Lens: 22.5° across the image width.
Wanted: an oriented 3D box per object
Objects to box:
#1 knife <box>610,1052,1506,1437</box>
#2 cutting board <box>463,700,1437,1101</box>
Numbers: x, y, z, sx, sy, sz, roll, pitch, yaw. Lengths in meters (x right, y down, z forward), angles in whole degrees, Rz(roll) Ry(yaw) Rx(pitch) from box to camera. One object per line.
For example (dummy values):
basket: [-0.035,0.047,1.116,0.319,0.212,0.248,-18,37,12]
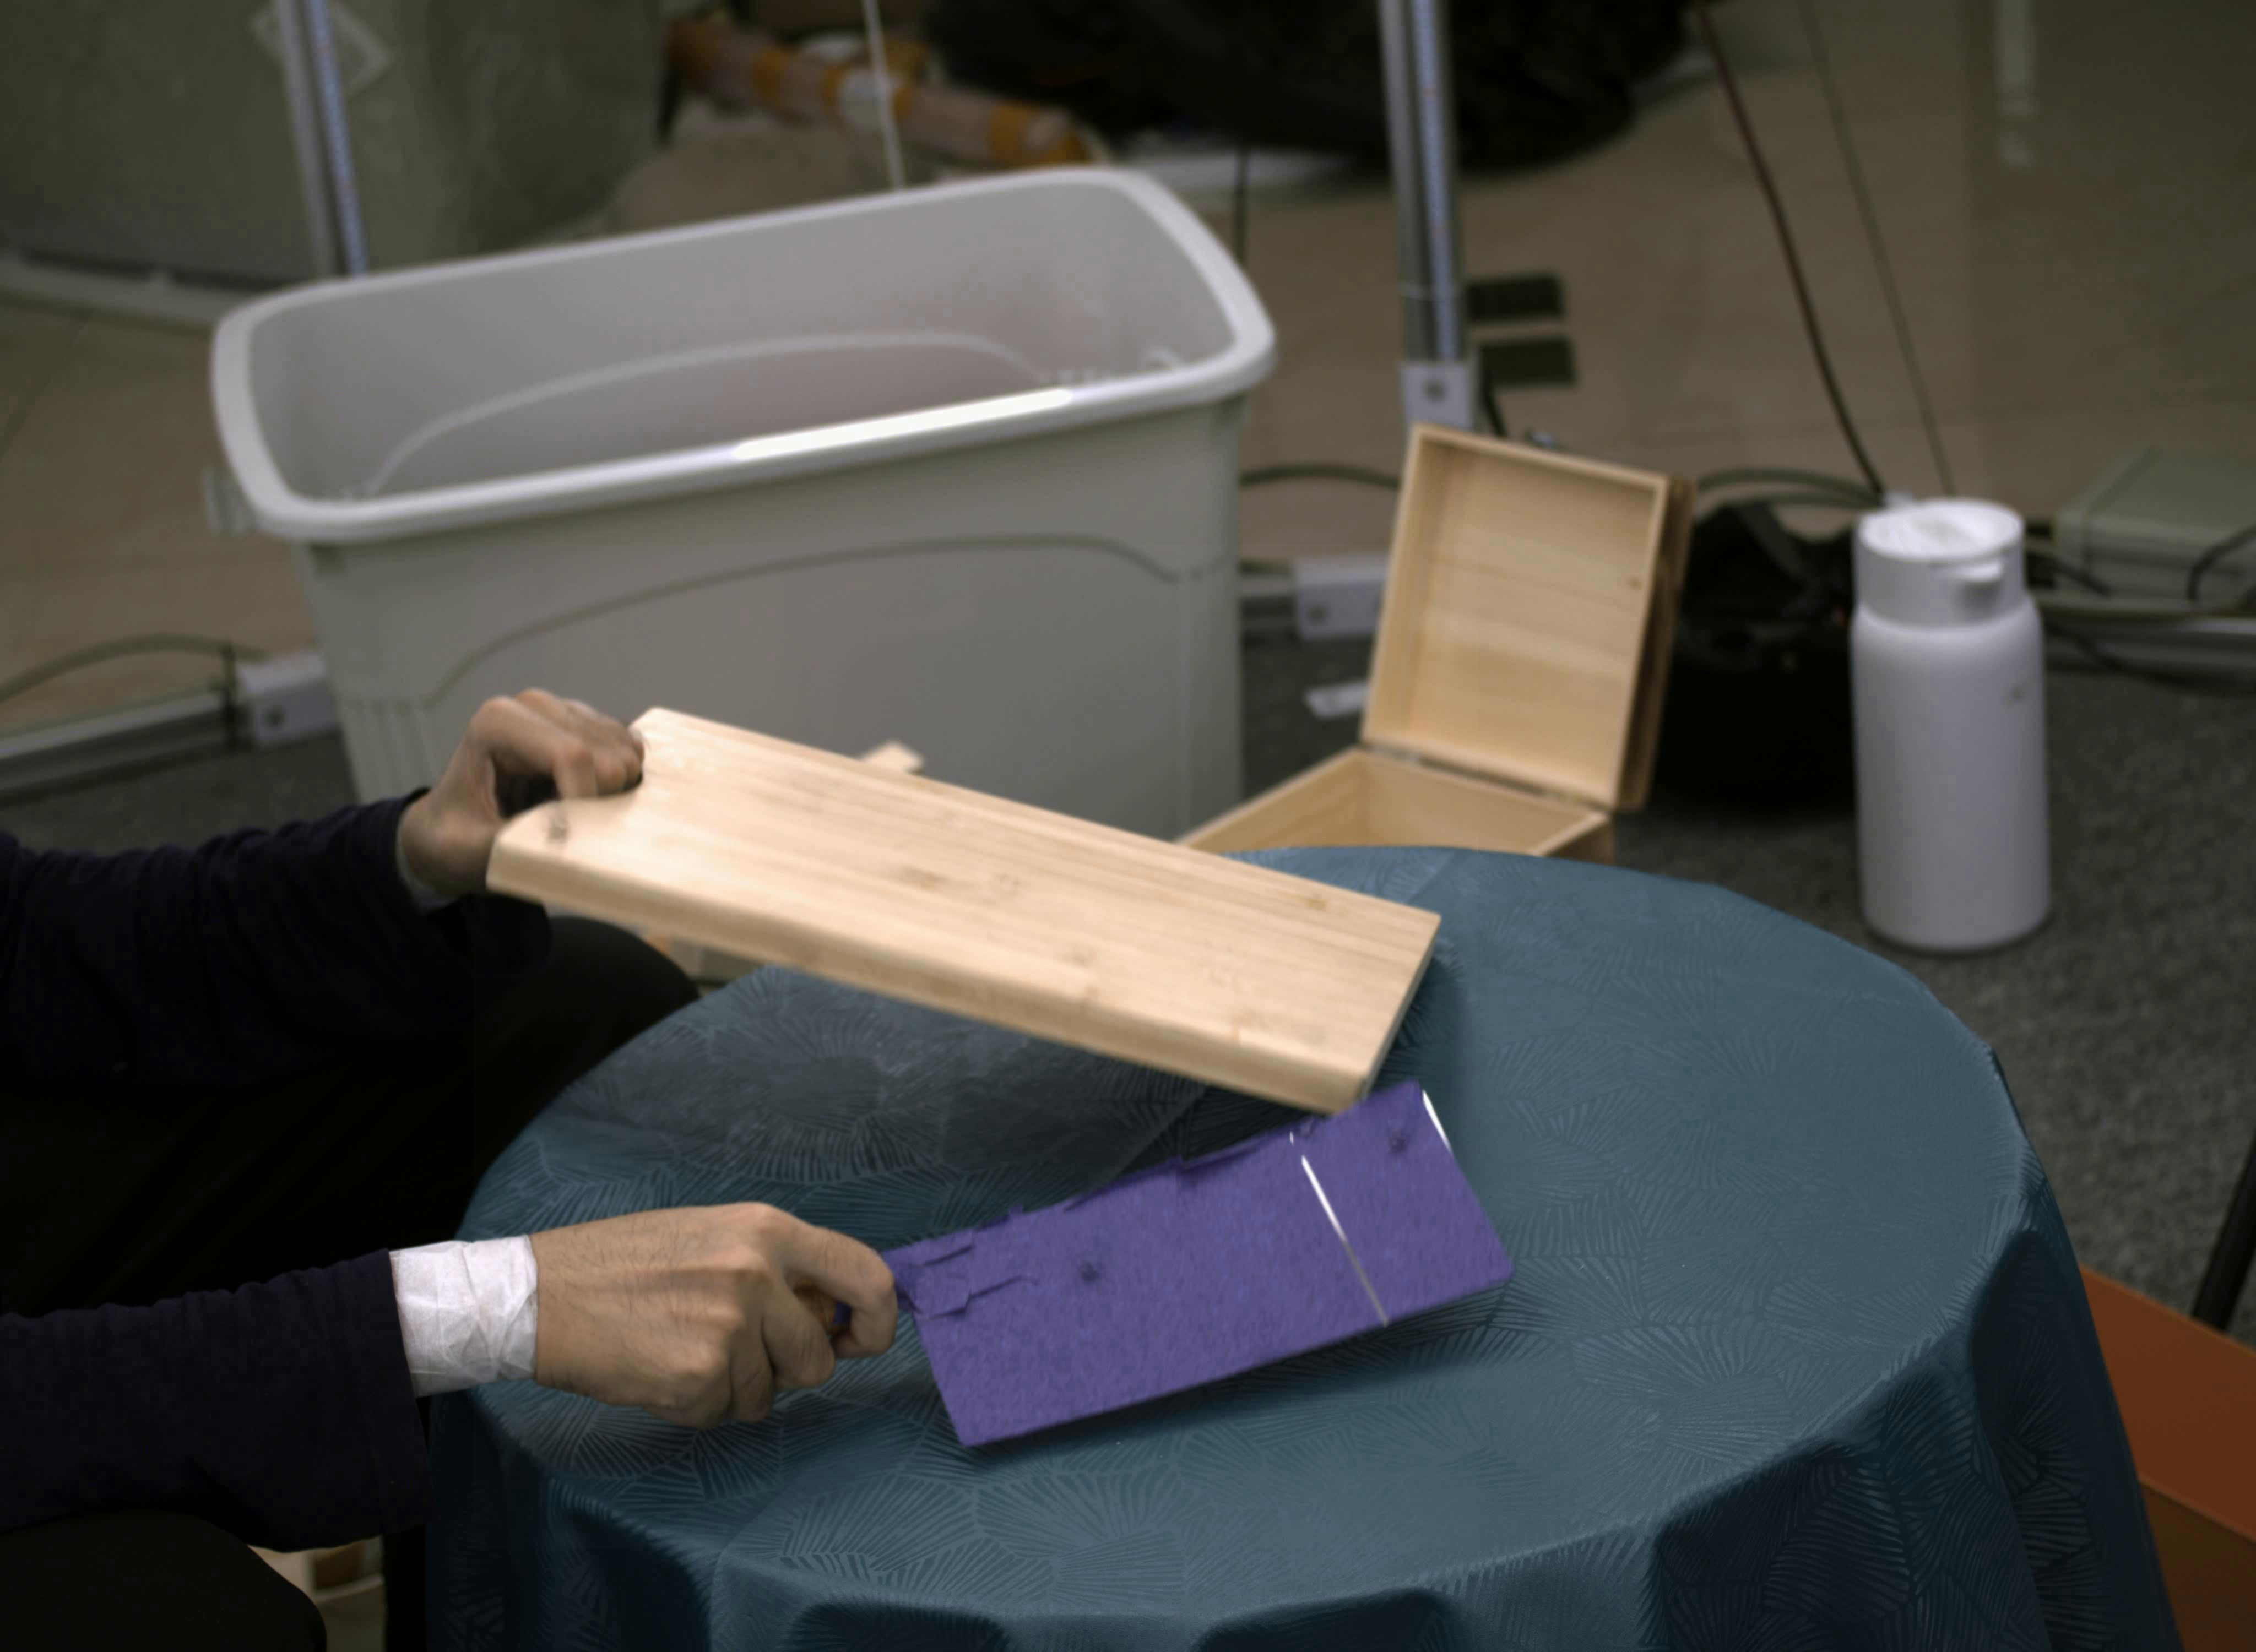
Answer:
knife: [-0.023,0.165,2.009,0.314,0.033,0.102,-19,52,-8]
cutting board: [-0.062,0.026,2.214,0.348,0.024,0.248,15,15,6]
